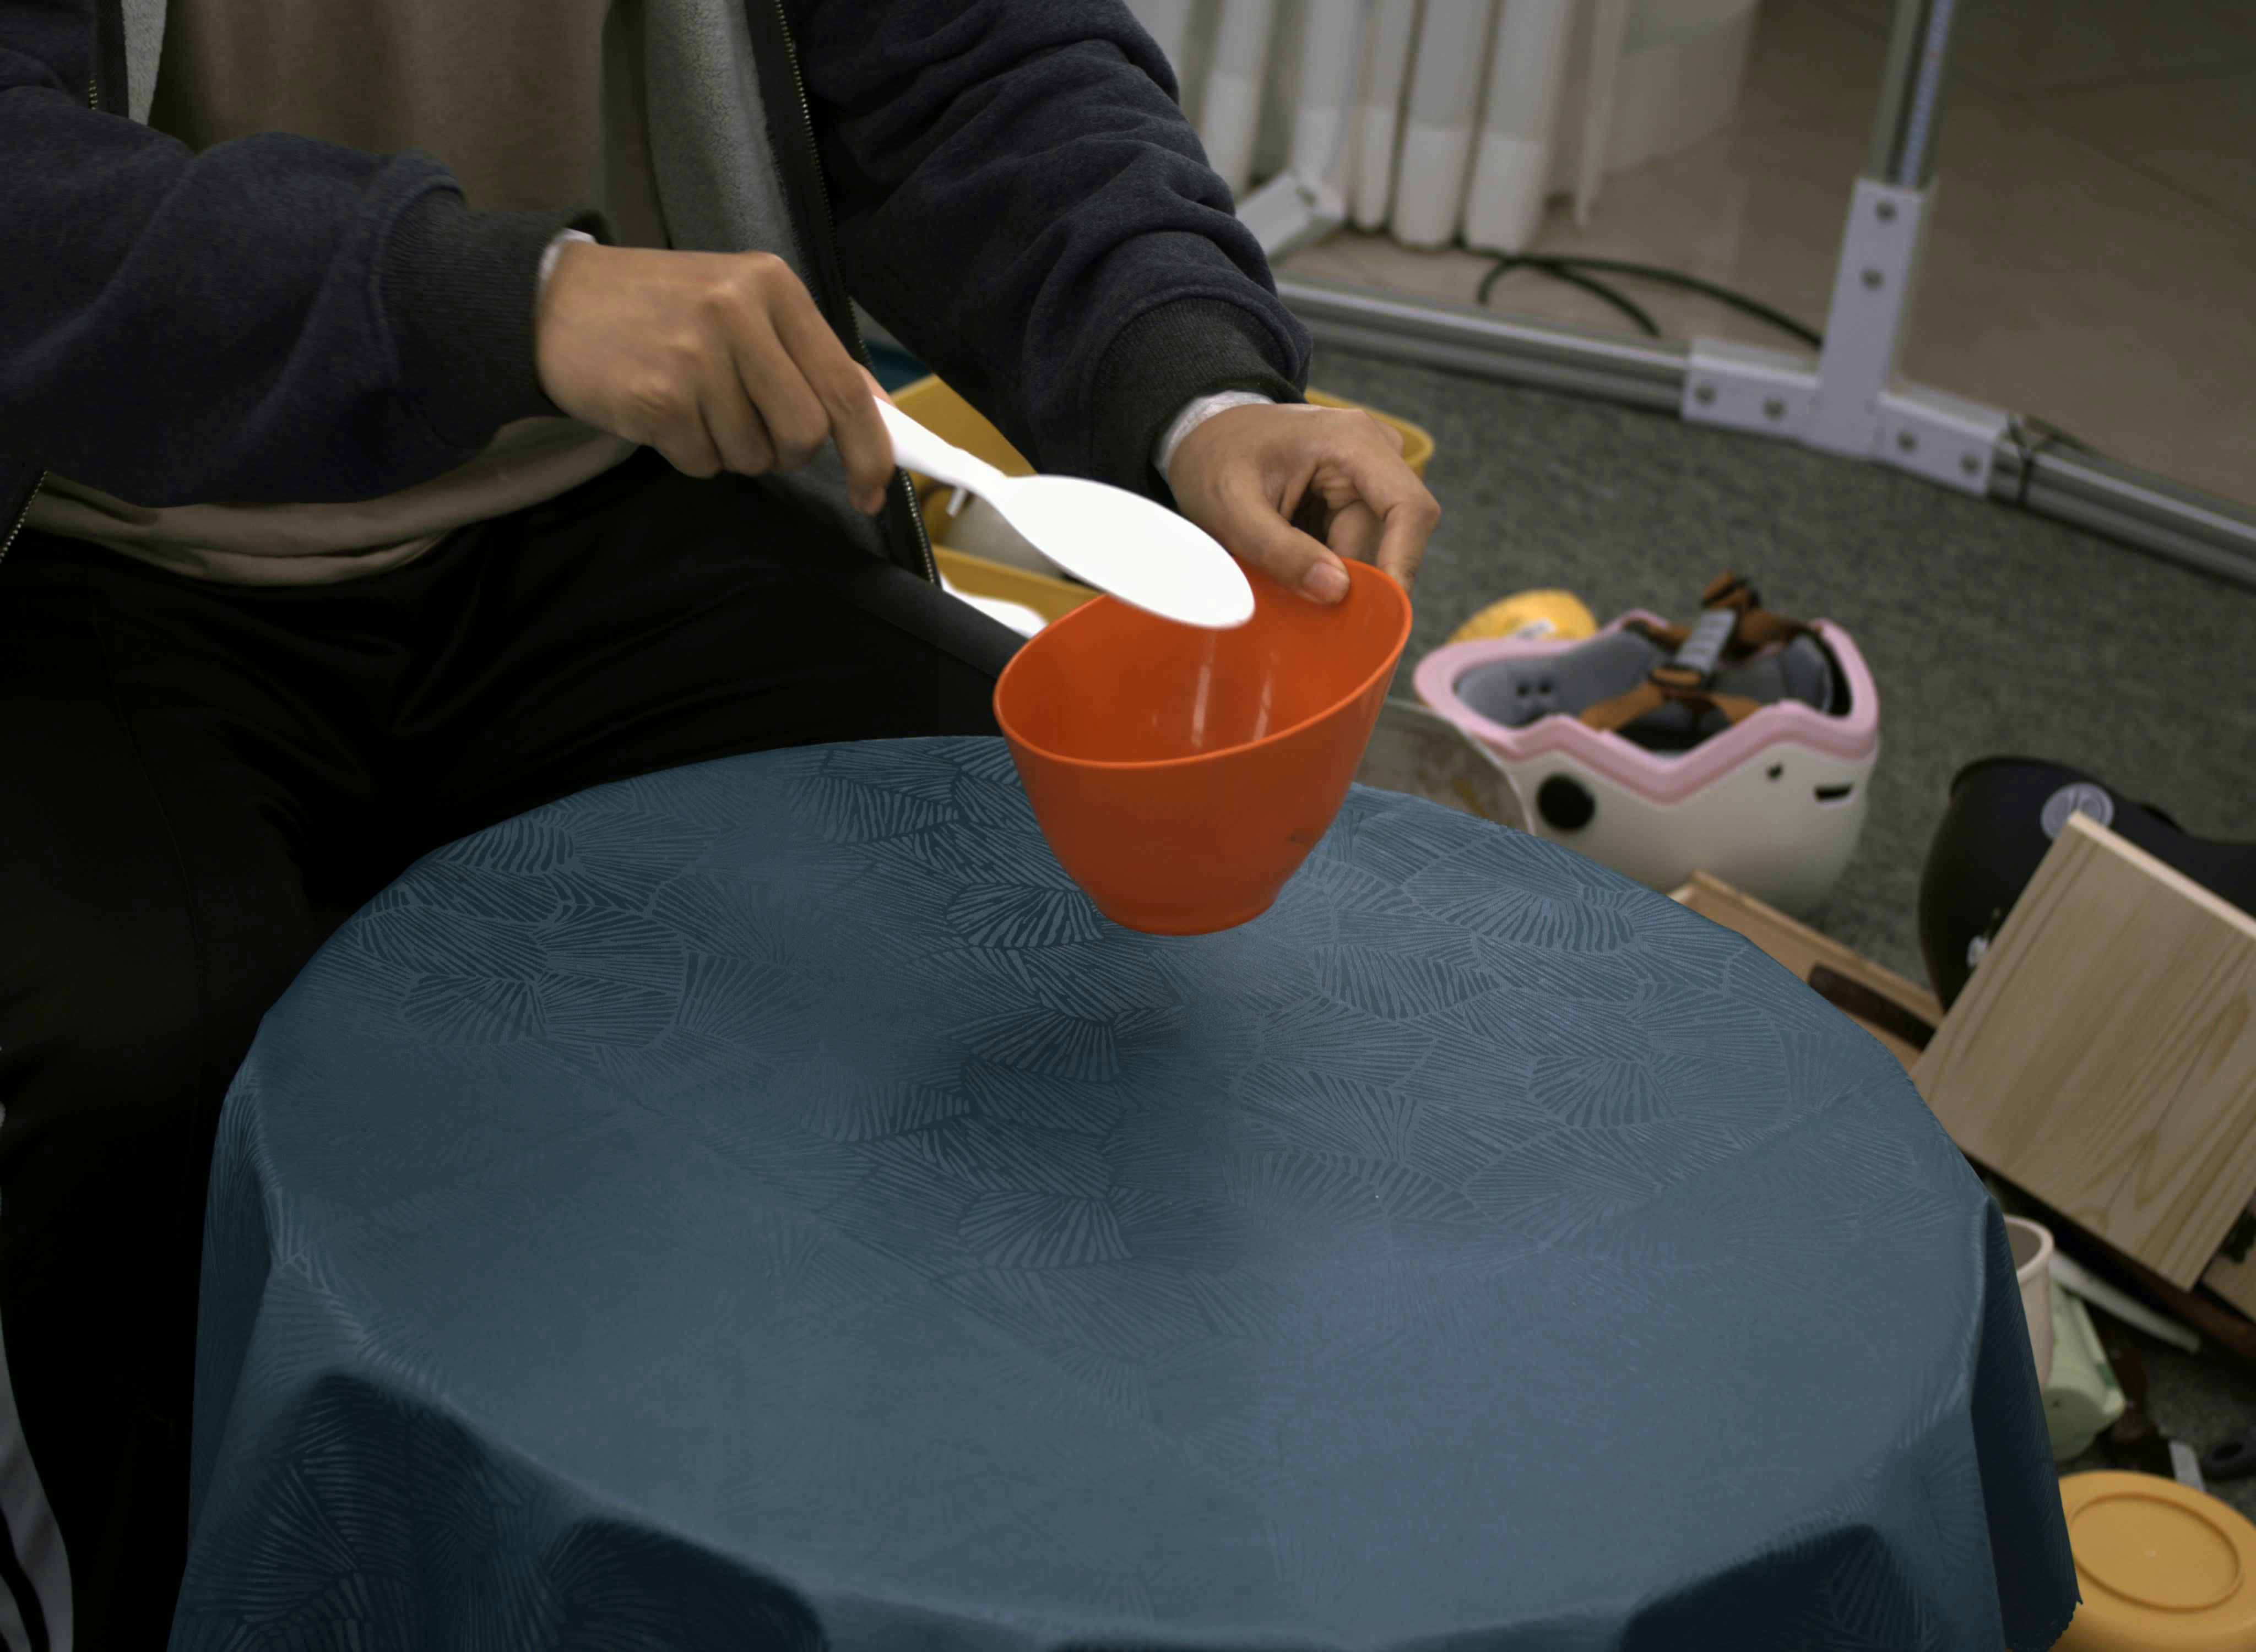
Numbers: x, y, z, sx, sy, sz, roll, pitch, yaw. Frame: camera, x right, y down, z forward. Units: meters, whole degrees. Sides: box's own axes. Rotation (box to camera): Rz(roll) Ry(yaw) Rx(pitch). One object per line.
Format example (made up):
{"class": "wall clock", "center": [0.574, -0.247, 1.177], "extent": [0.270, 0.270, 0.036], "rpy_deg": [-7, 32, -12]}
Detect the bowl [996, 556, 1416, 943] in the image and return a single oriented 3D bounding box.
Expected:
{"class": "bowl", "center": [0.030, -0.021, 1.859], "extent": [0.147, 0.104, 0.149], "rpy_deg": [-5, 28, 2]}

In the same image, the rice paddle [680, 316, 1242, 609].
{"class": "rice paddle", "center": [-0.053, -0.123, 1.821], "extent": [0.204, 0.029, 0.069], "rpy_deg": [22, 34, -7]}
